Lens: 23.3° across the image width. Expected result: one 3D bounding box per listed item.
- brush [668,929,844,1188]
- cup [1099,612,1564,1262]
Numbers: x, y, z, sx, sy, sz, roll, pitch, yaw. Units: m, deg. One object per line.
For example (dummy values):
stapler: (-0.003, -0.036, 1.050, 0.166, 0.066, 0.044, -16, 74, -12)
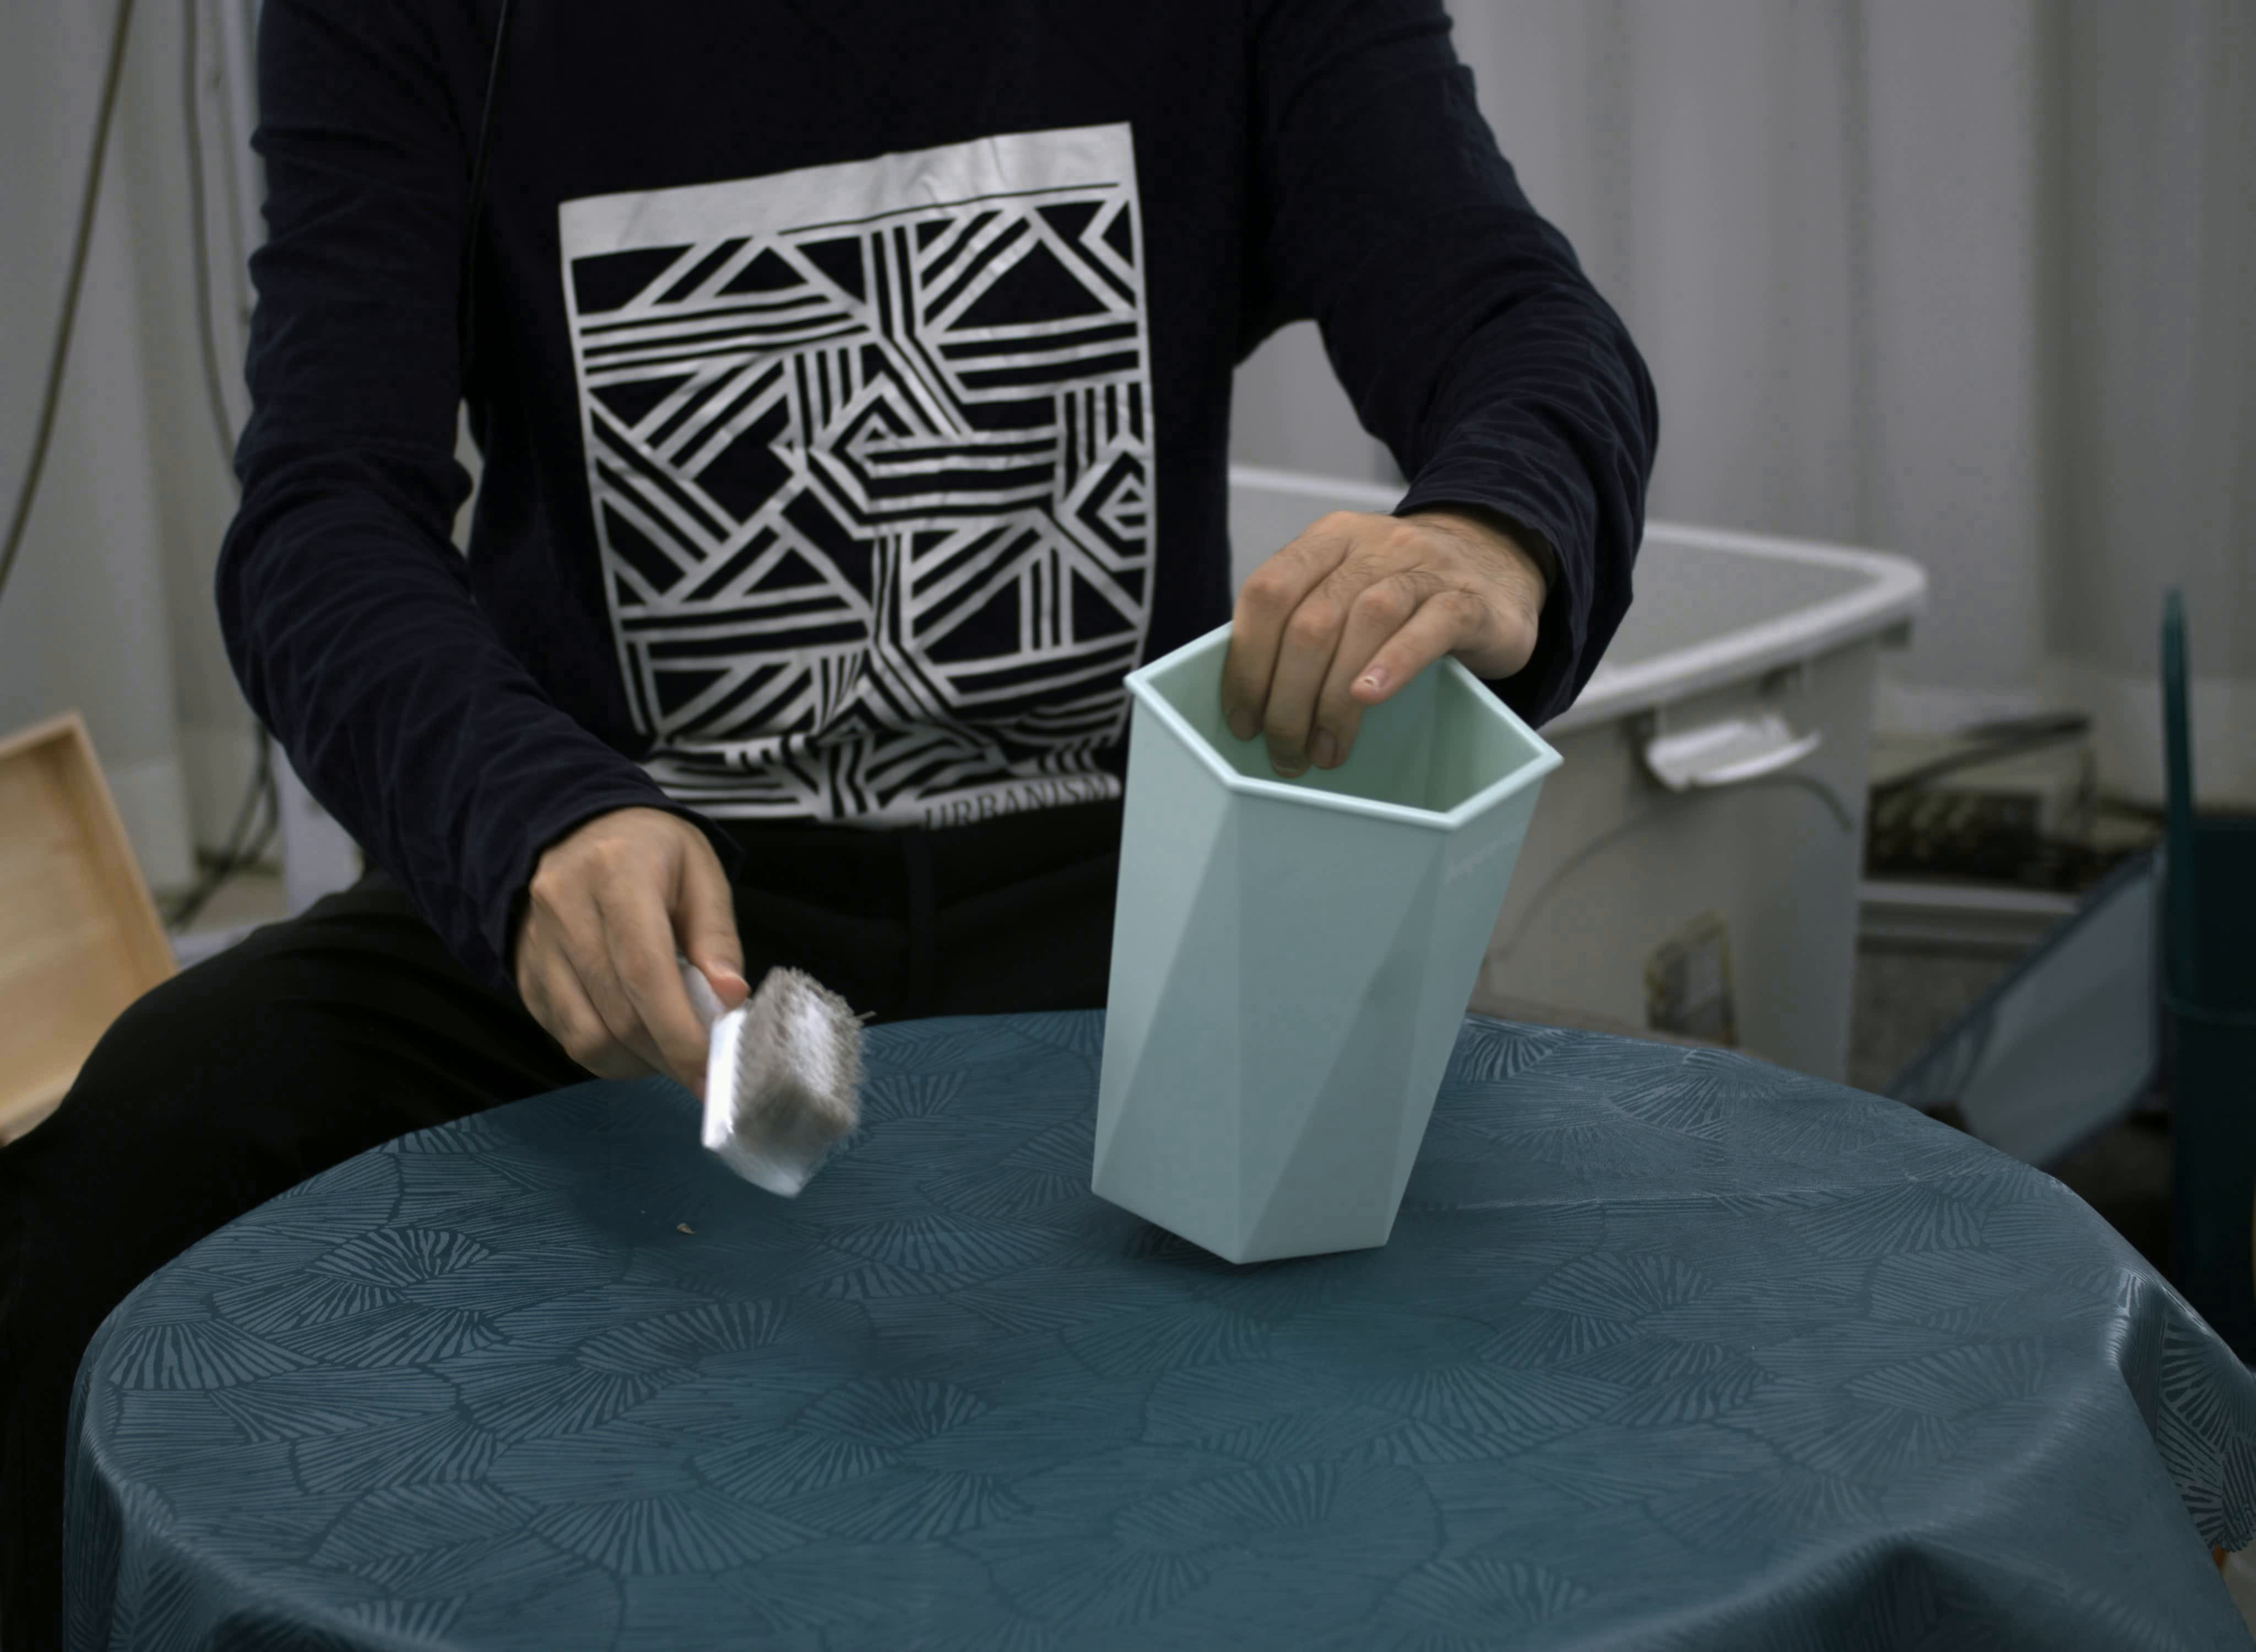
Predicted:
brush: (-0.115, 0.052, 1.659, 0.034, 0.050, 0.245, 33, 7, -13)
cup: (0.051, 0.036, 1.641, 0.116, 0.161, 0.131, 22, 28, 23)
